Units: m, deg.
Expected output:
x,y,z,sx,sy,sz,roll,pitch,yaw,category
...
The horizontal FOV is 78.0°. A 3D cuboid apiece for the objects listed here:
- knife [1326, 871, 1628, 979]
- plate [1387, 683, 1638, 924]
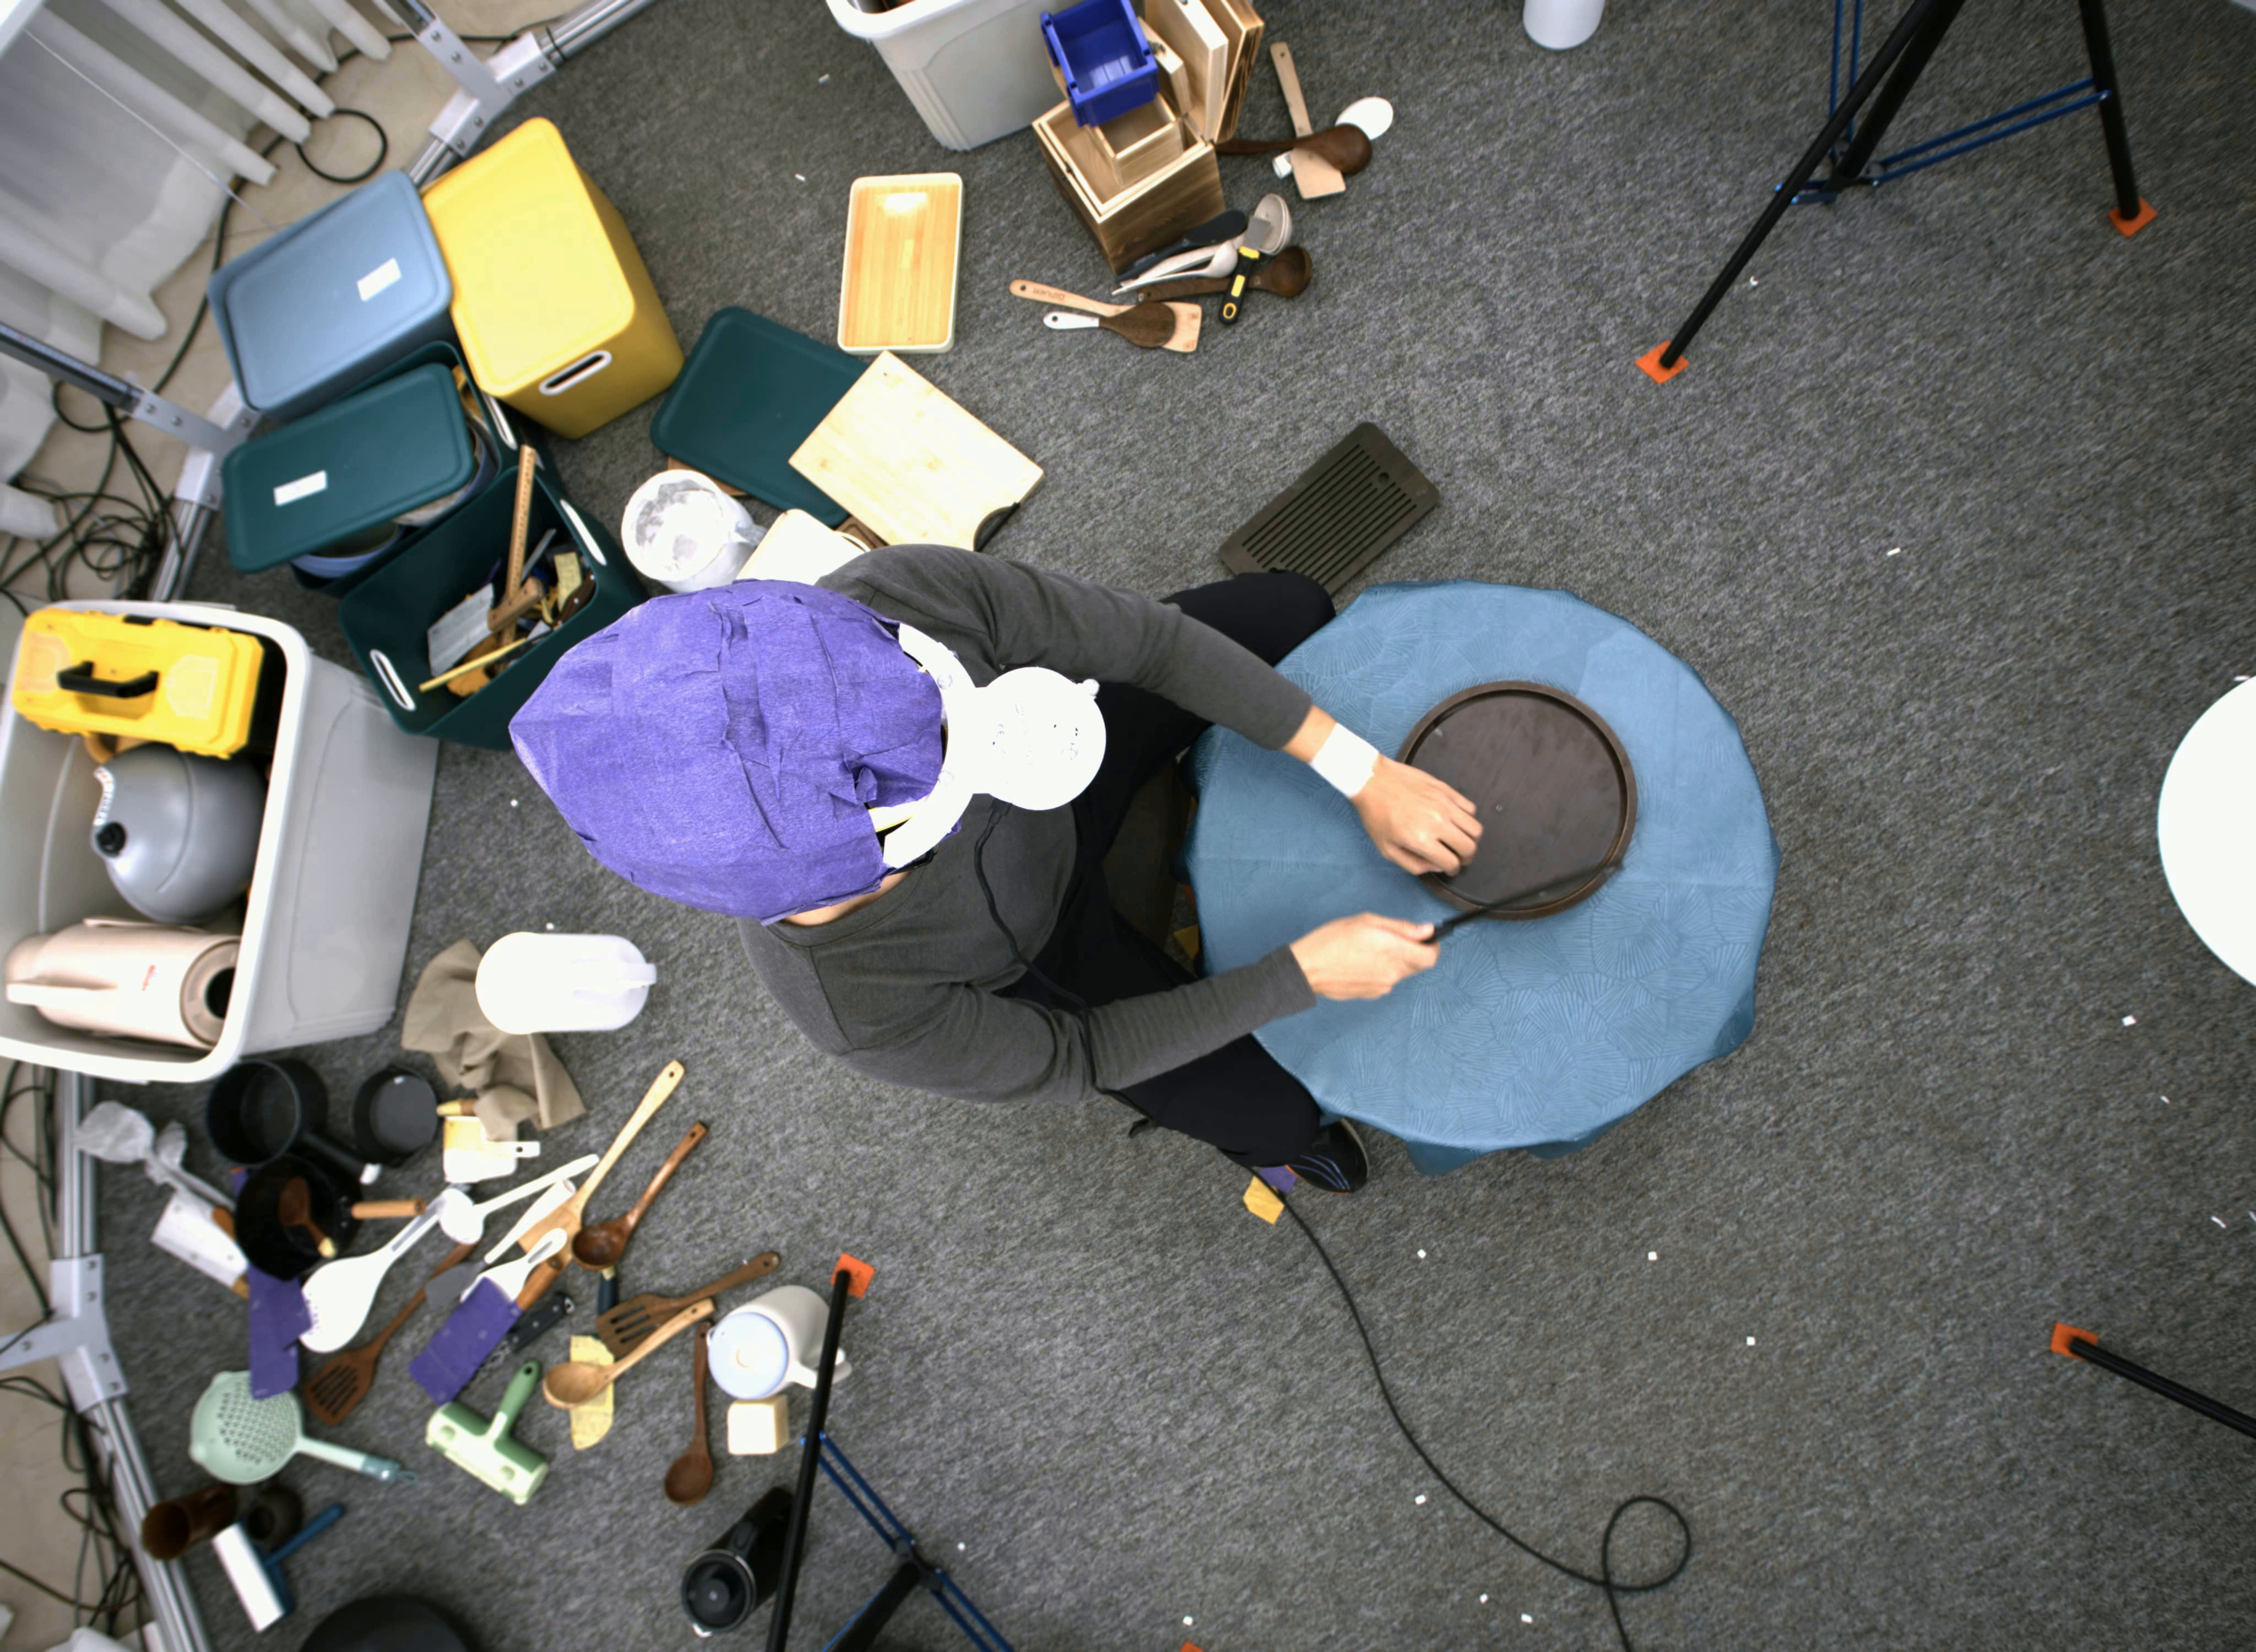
x,y,z,sx,sy,sz,roll,pitch,yaw,category
0.337,0.093,1.342,0.304,0.080,0.021,-20,90,13,knife
0.398,-0.027,1.430,0.256,0.029,0.254,-1,88,10,plate
